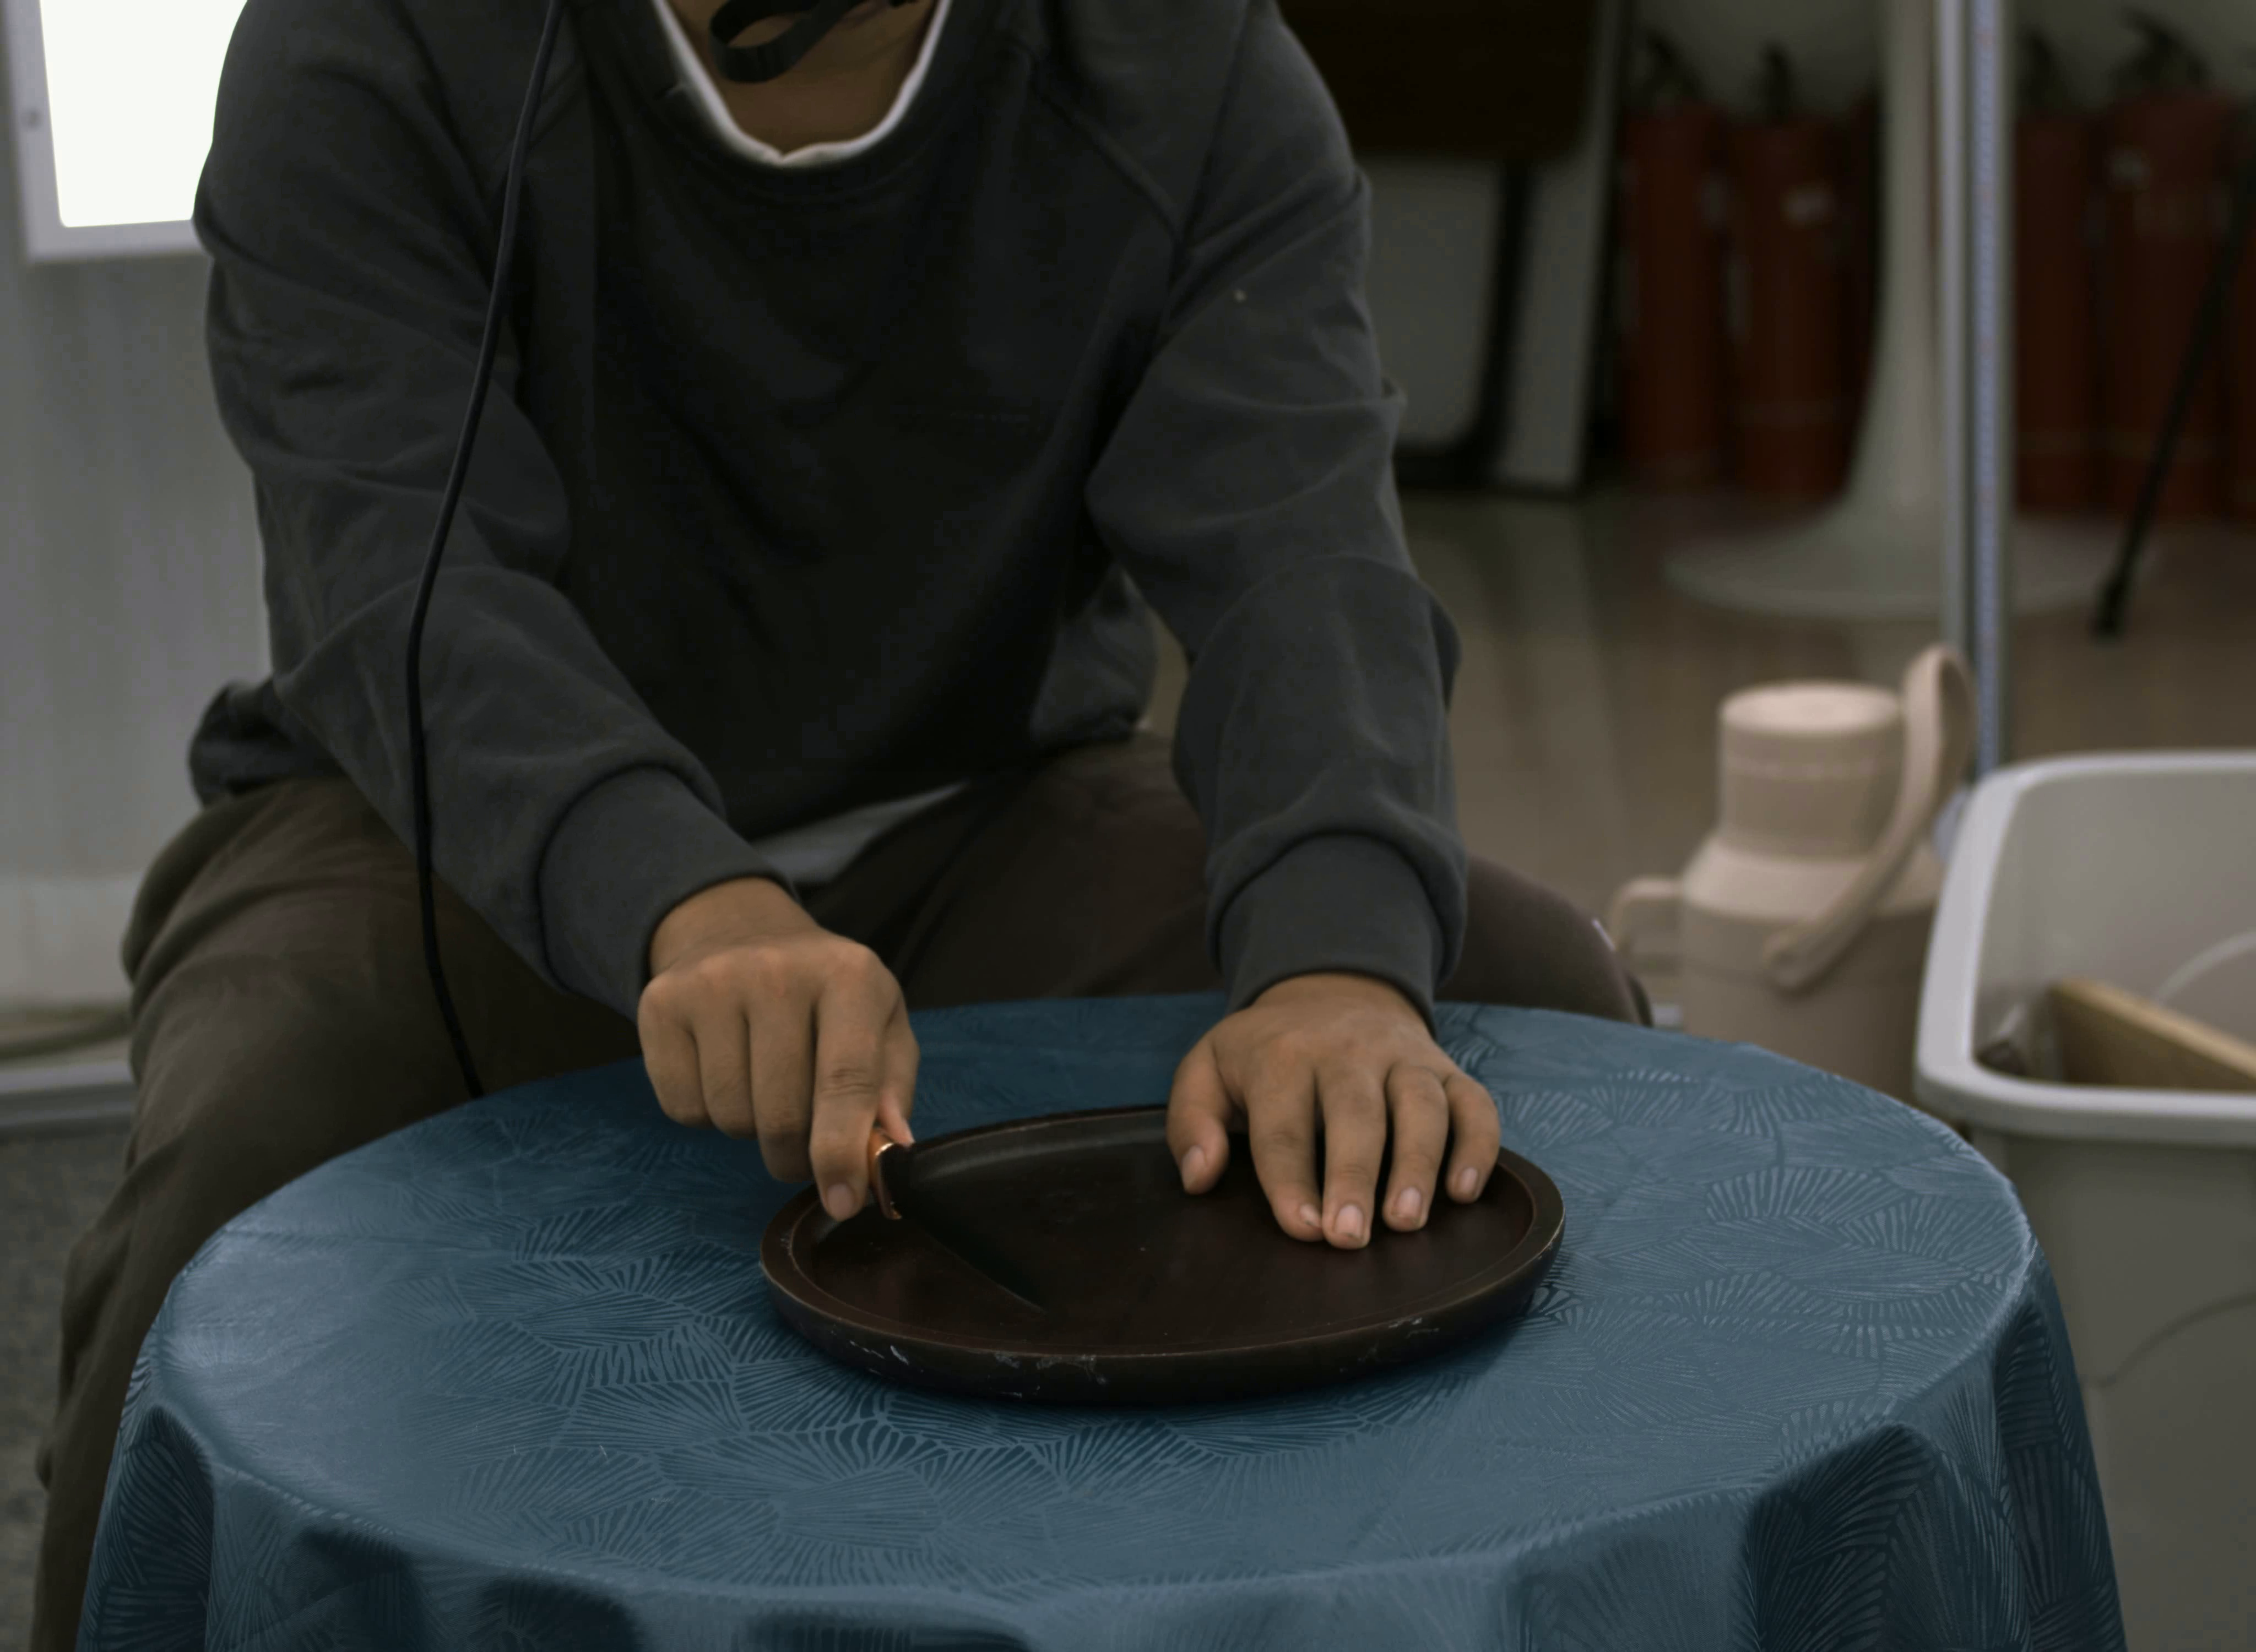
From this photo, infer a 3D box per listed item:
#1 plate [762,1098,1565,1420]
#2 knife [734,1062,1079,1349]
[{"bbox_3d":[0.012,0.133,1.678,0.251,0.029,0.255,-6,13,0],"label":"plate"},{"bbox_3d":[-0.070,0.116,1.689,0.017,0.026,0.228,-14,22,-26],"label":"knife"}]
